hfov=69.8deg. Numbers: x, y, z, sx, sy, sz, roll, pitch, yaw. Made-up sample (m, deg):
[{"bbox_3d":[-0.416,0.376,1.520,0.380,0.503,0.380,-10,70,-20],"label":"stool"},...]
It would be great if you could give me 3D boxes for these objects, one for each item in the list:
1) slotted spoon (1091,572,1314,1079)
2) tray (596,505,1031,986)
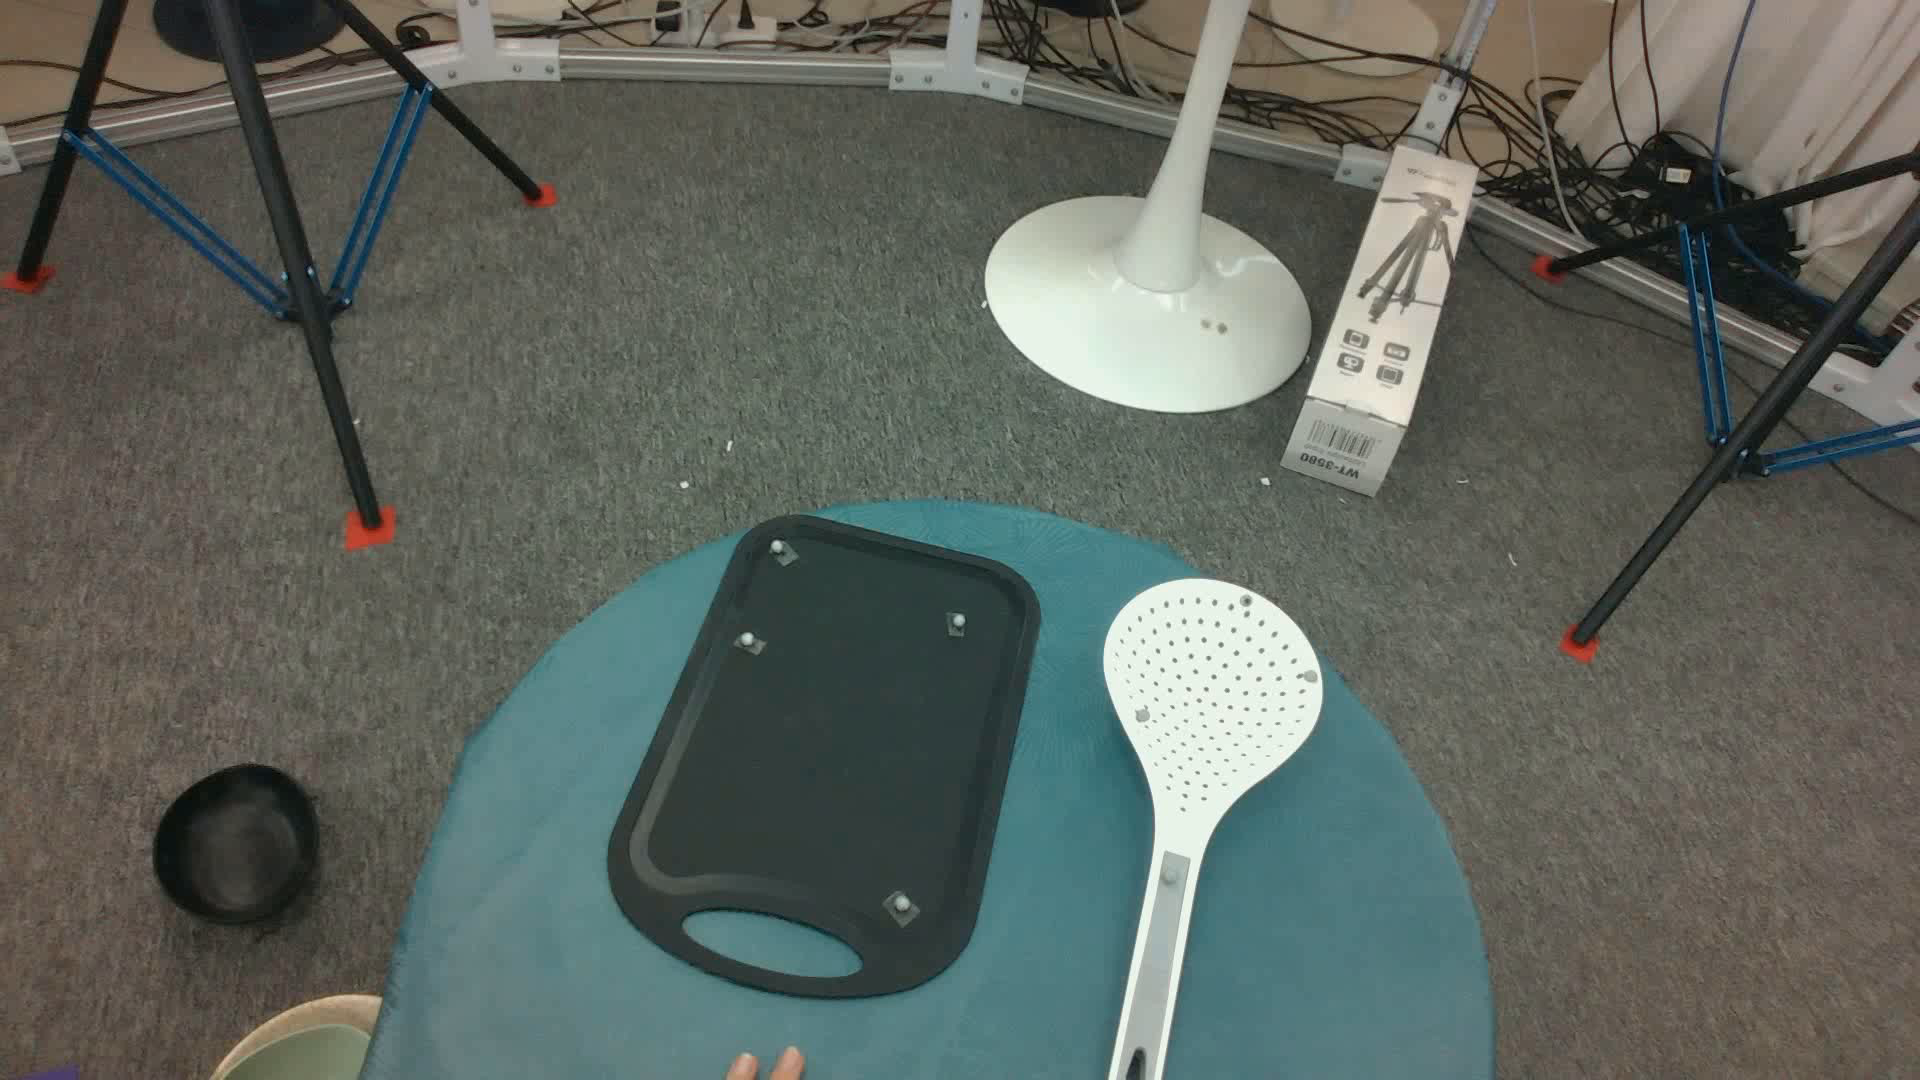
[{"bbox_3d":[0.122,0.163,0.794,0.136,0.045,0.351,15,49,6],"label":"slotted spoon"},{"bbox_3d":[-0.079,0.110,0.830,0.211,0.010,0.327,14,49,2],"label":"tray"}]
